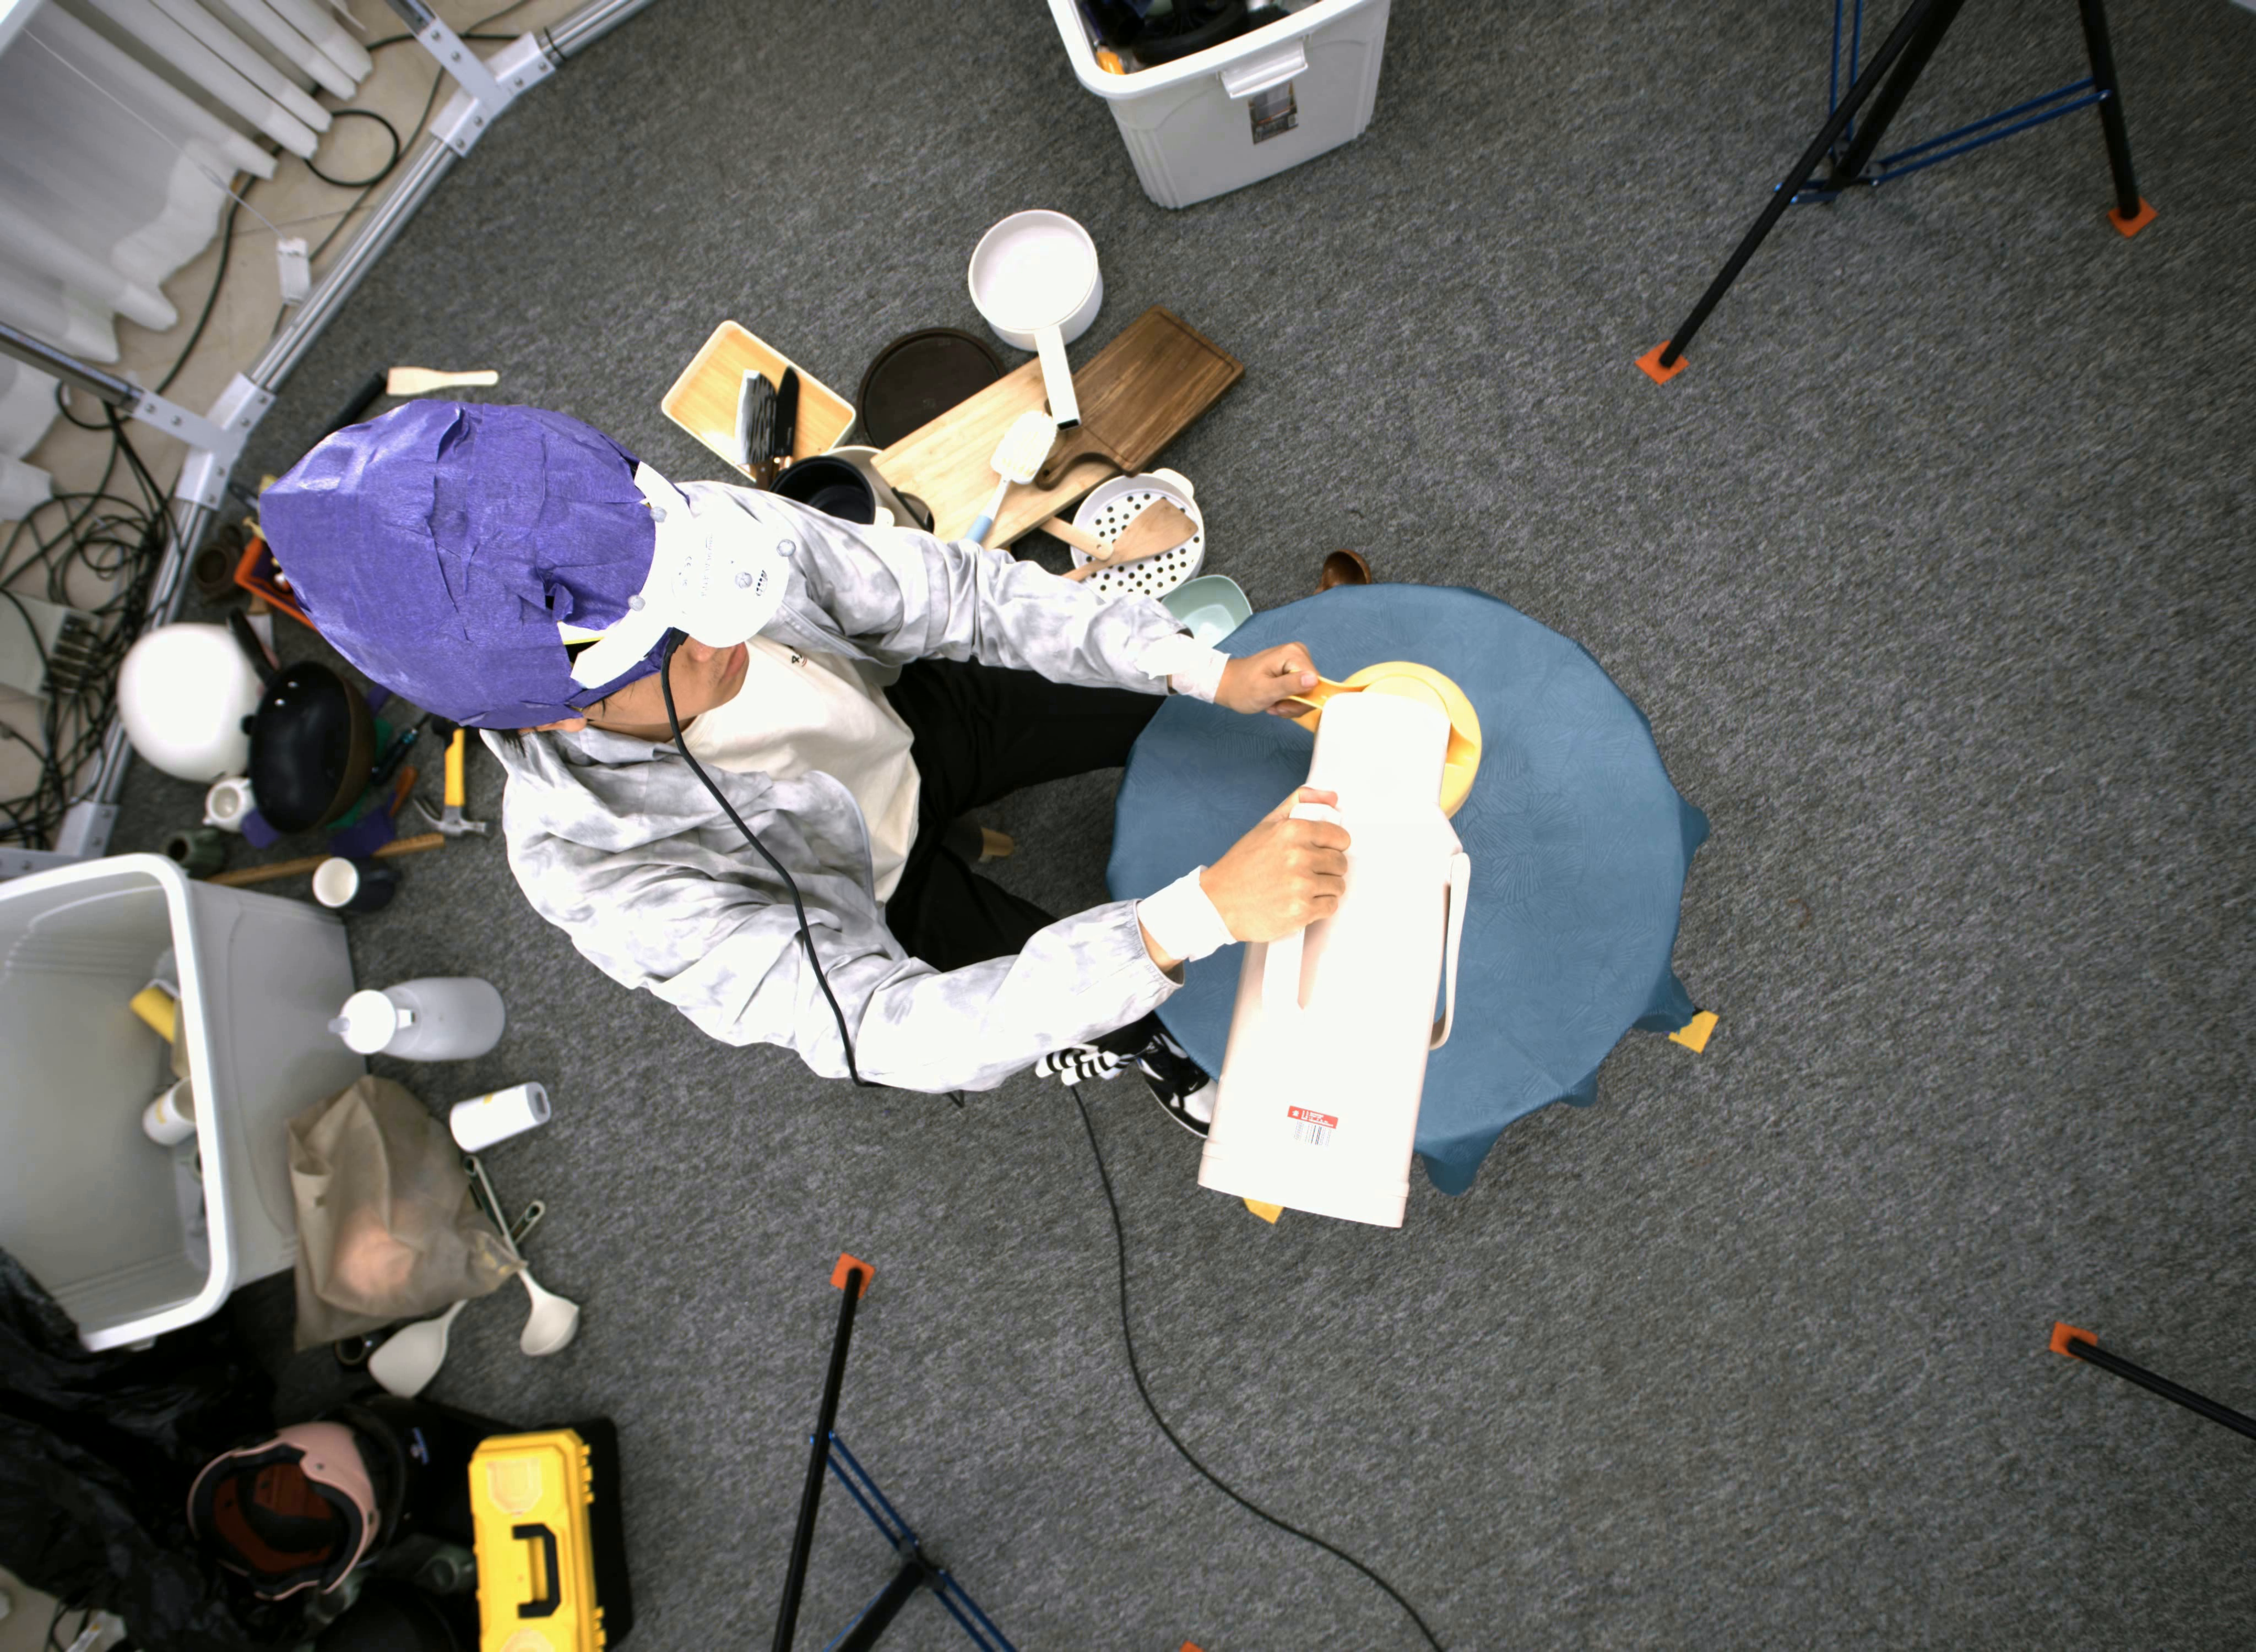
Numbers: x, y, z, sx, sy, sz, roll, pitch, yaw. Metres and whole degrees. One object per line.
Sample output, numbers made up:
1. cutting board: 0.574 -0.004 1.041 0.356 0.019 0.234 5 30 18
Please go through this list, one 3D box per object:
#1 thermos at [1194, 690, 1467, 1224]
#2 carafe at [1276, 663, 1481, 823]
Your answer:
1. thermos: 0.160 0.095 1.083 0.176 0.208 0.403 8 80 33
2. carafe: 0.243 -0.087 1.339 0.202 0.261 0.163 26 87 10
